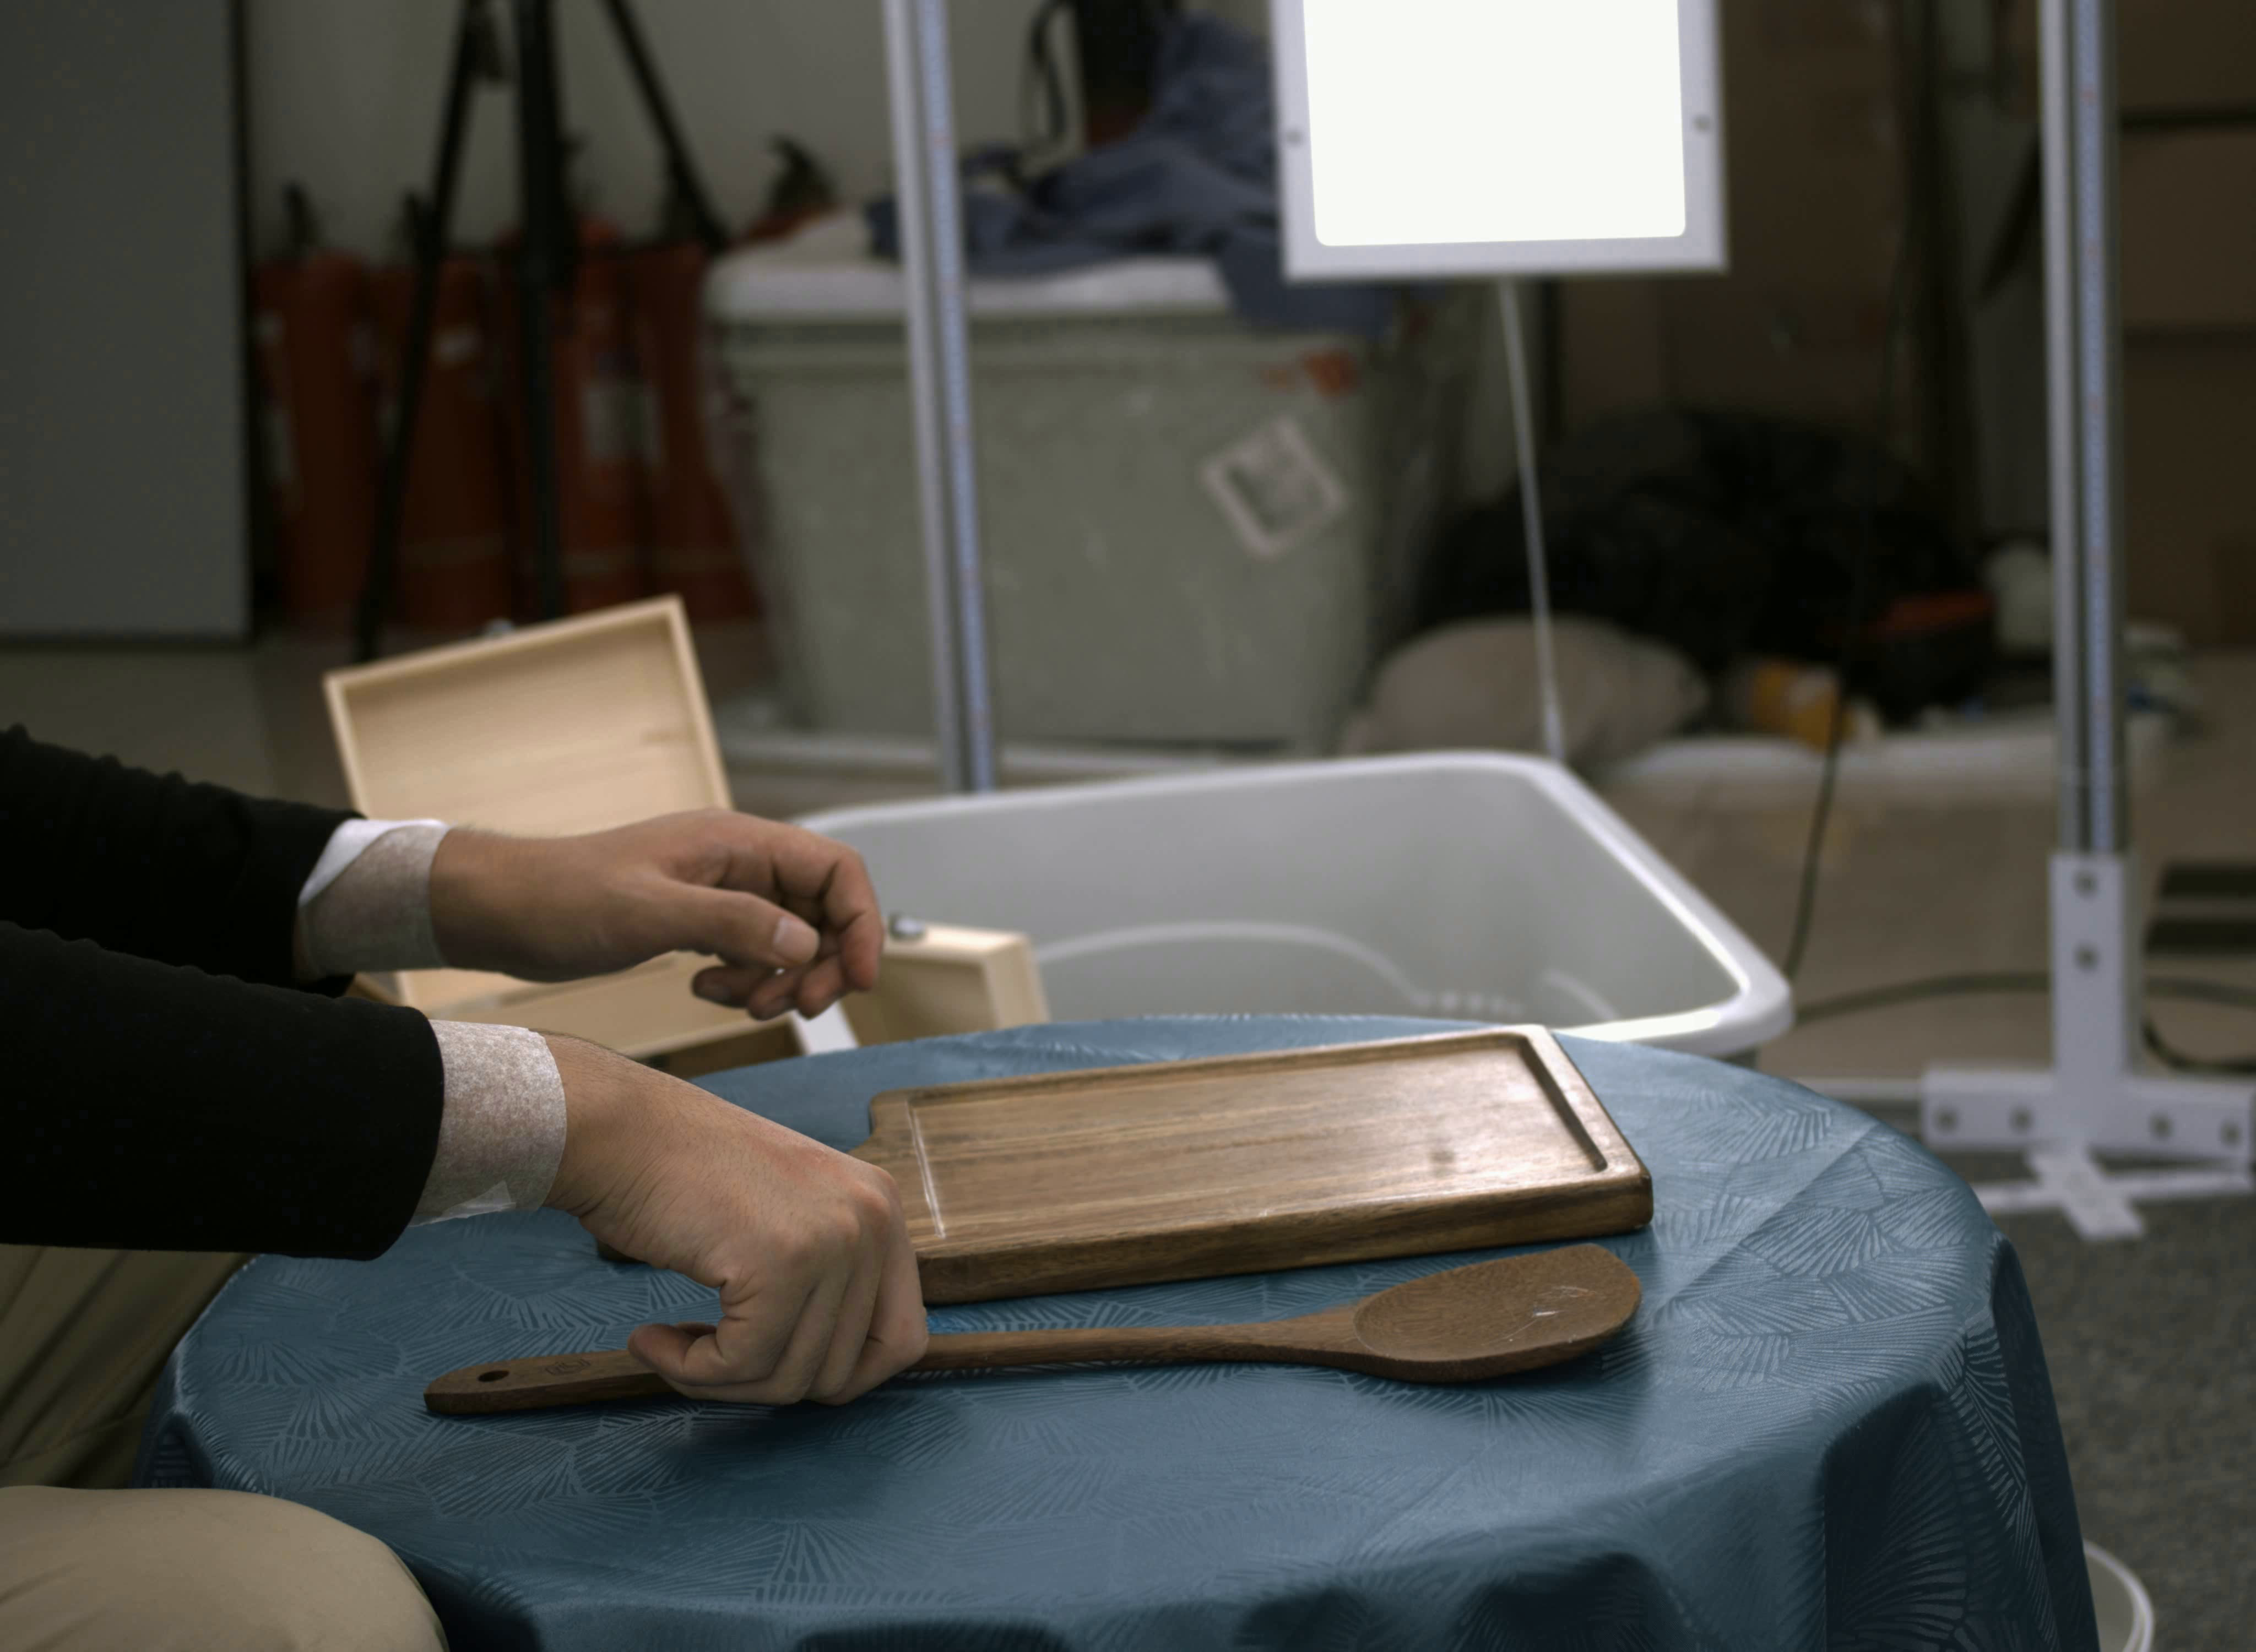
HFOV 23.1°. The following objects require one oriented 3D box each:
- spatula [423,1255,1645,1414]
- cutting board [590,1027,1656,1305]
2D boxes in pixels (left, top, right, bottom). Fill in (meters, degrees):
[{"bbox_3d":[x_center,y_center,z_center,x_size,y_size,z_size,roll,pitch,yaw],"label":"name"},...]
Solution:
[{"bbox_3d":[-0.030,0.163,1.726,0.386,0.016,0.095,-4,12,4],"label":"spatula"},{"bbox_3d":[-0.009,0.119,1.890,0.350,0.023,0.201,-6,13,-3],"label":"cutting board"}]
